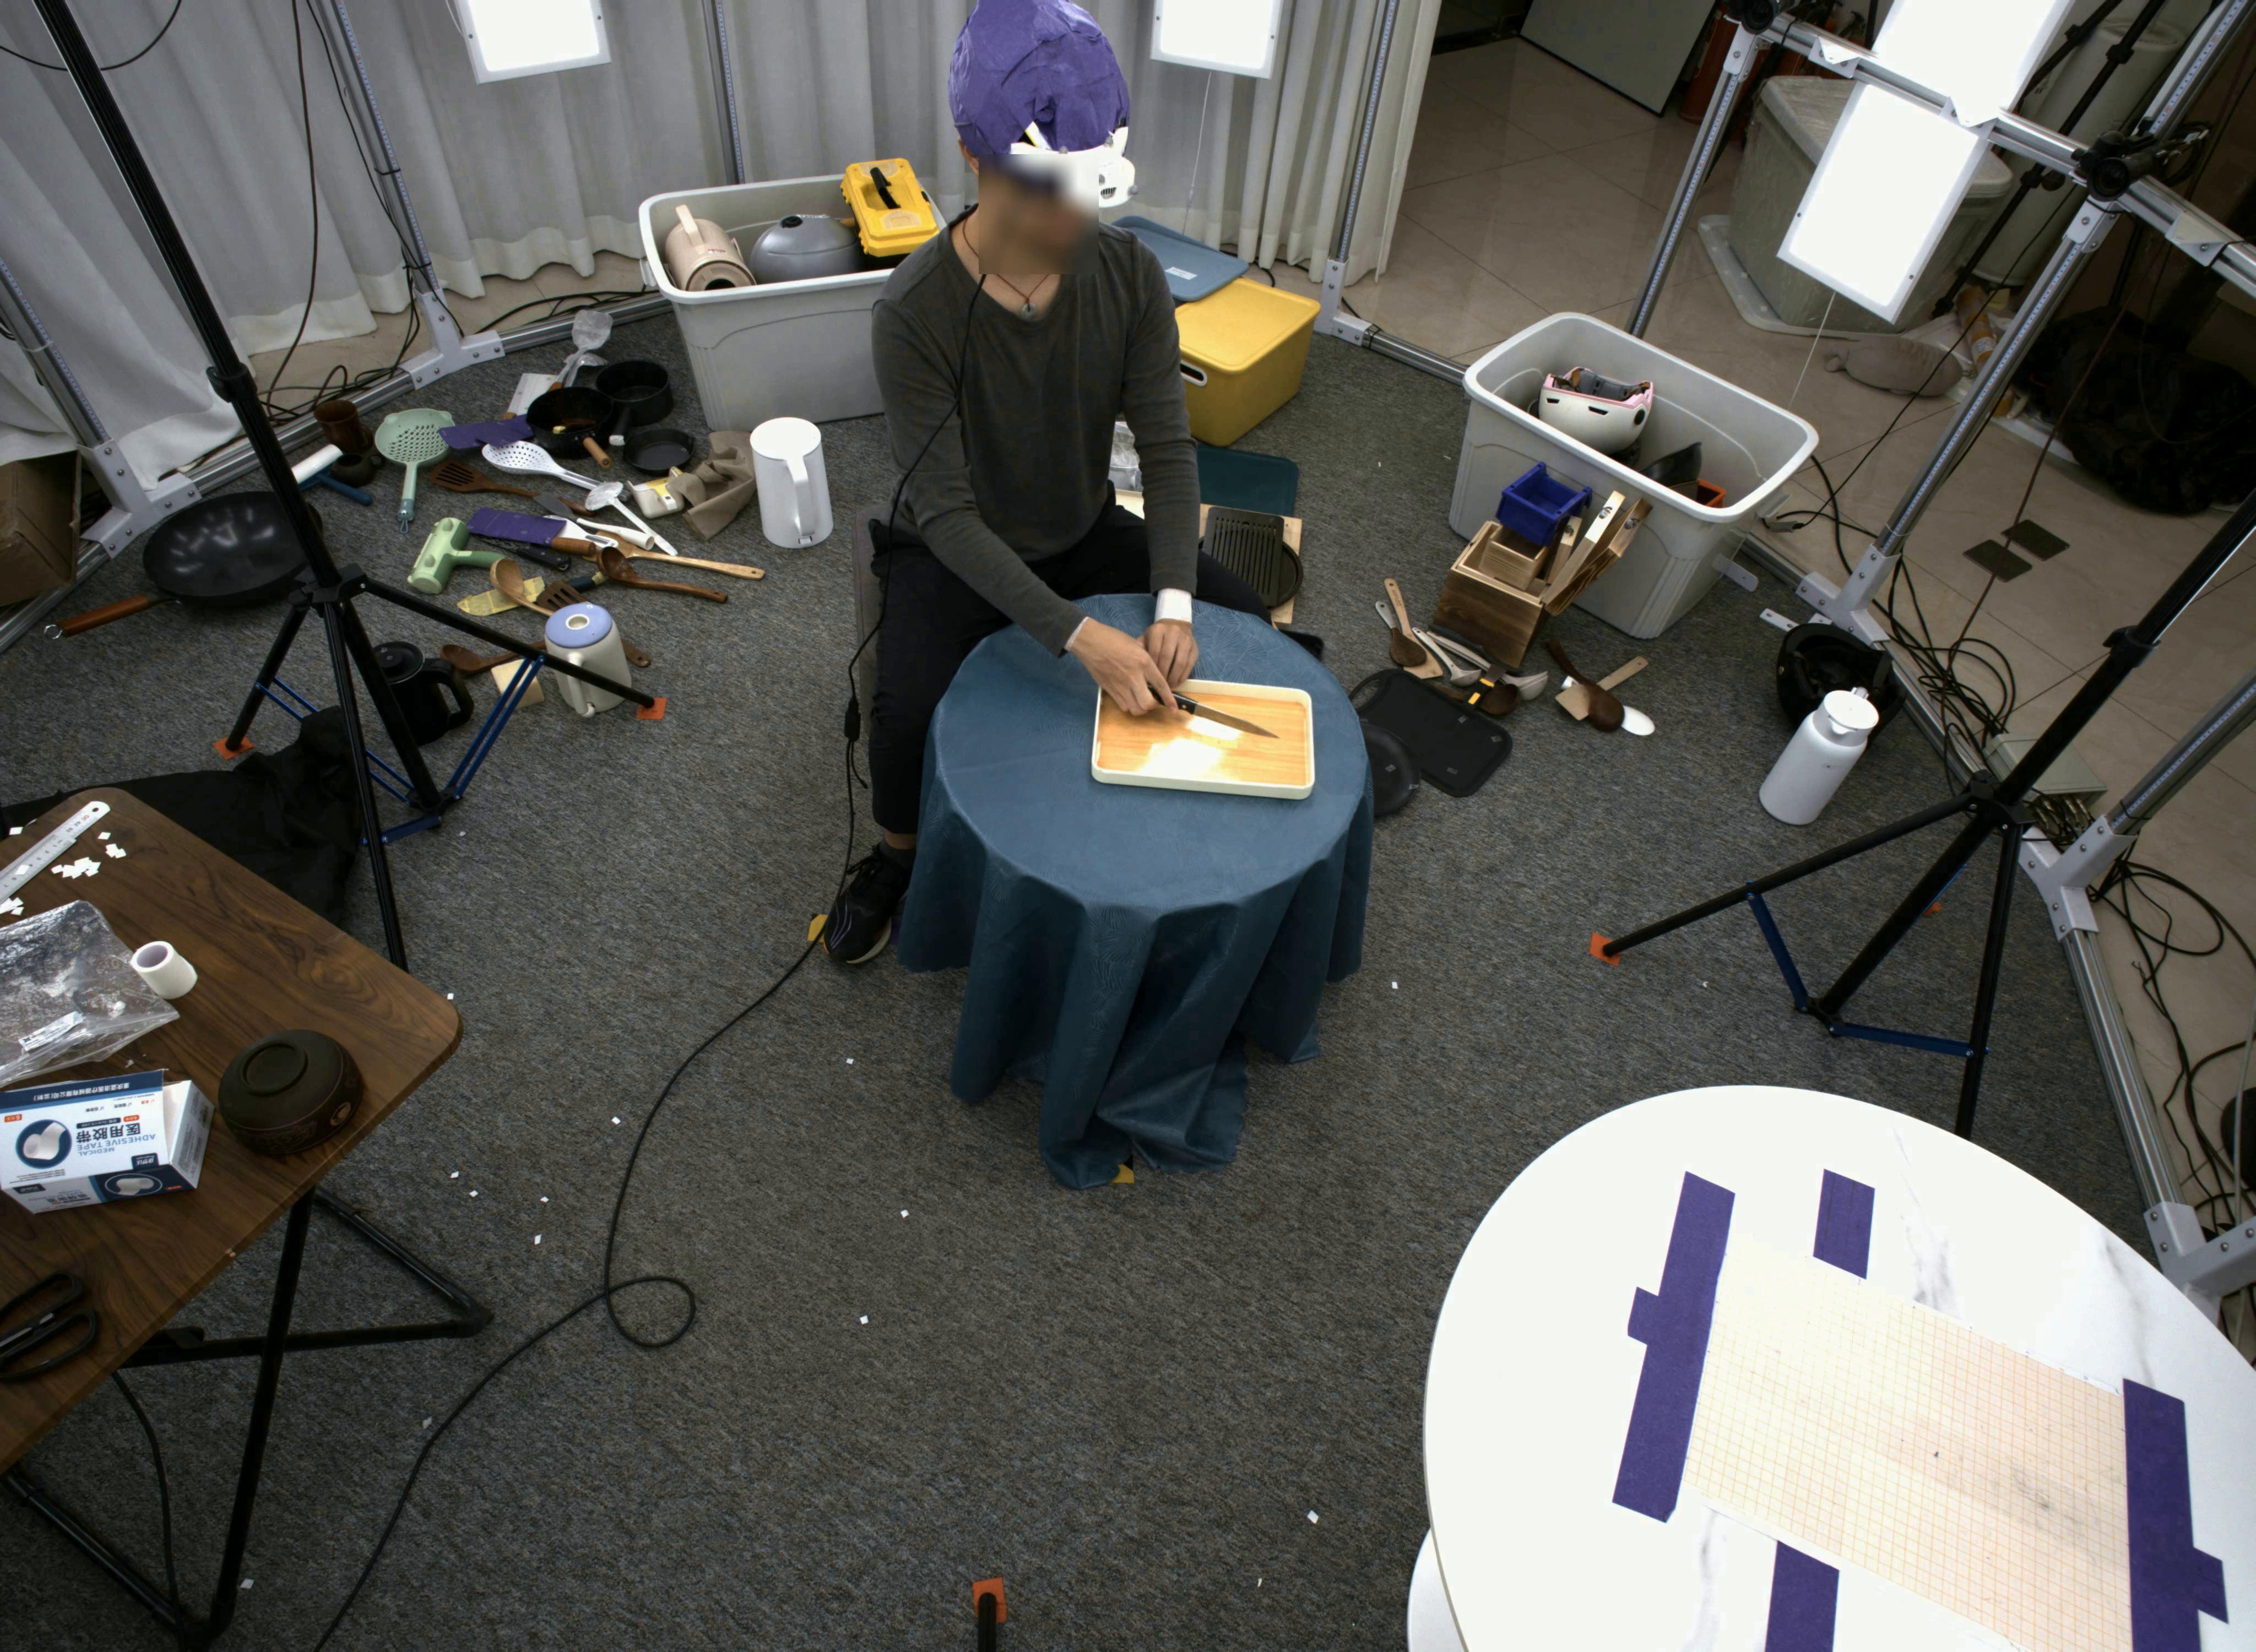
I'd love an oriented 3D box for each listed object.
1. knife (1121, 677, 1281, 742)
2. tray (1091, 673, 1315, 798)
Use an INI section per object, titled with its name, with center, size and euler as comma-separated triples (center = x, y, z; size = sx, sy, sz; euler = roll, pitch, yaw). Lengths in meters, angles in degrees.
[knife]
center = 0.101, -0.160, 1.774
size = 0.239, 0.024, 0.016
euler = 21, 48, 11
[tray]
center = 0.104, -0.126, 1.767
size = 0.300, 0.027, 0.196
euler = 5, 48, 0
